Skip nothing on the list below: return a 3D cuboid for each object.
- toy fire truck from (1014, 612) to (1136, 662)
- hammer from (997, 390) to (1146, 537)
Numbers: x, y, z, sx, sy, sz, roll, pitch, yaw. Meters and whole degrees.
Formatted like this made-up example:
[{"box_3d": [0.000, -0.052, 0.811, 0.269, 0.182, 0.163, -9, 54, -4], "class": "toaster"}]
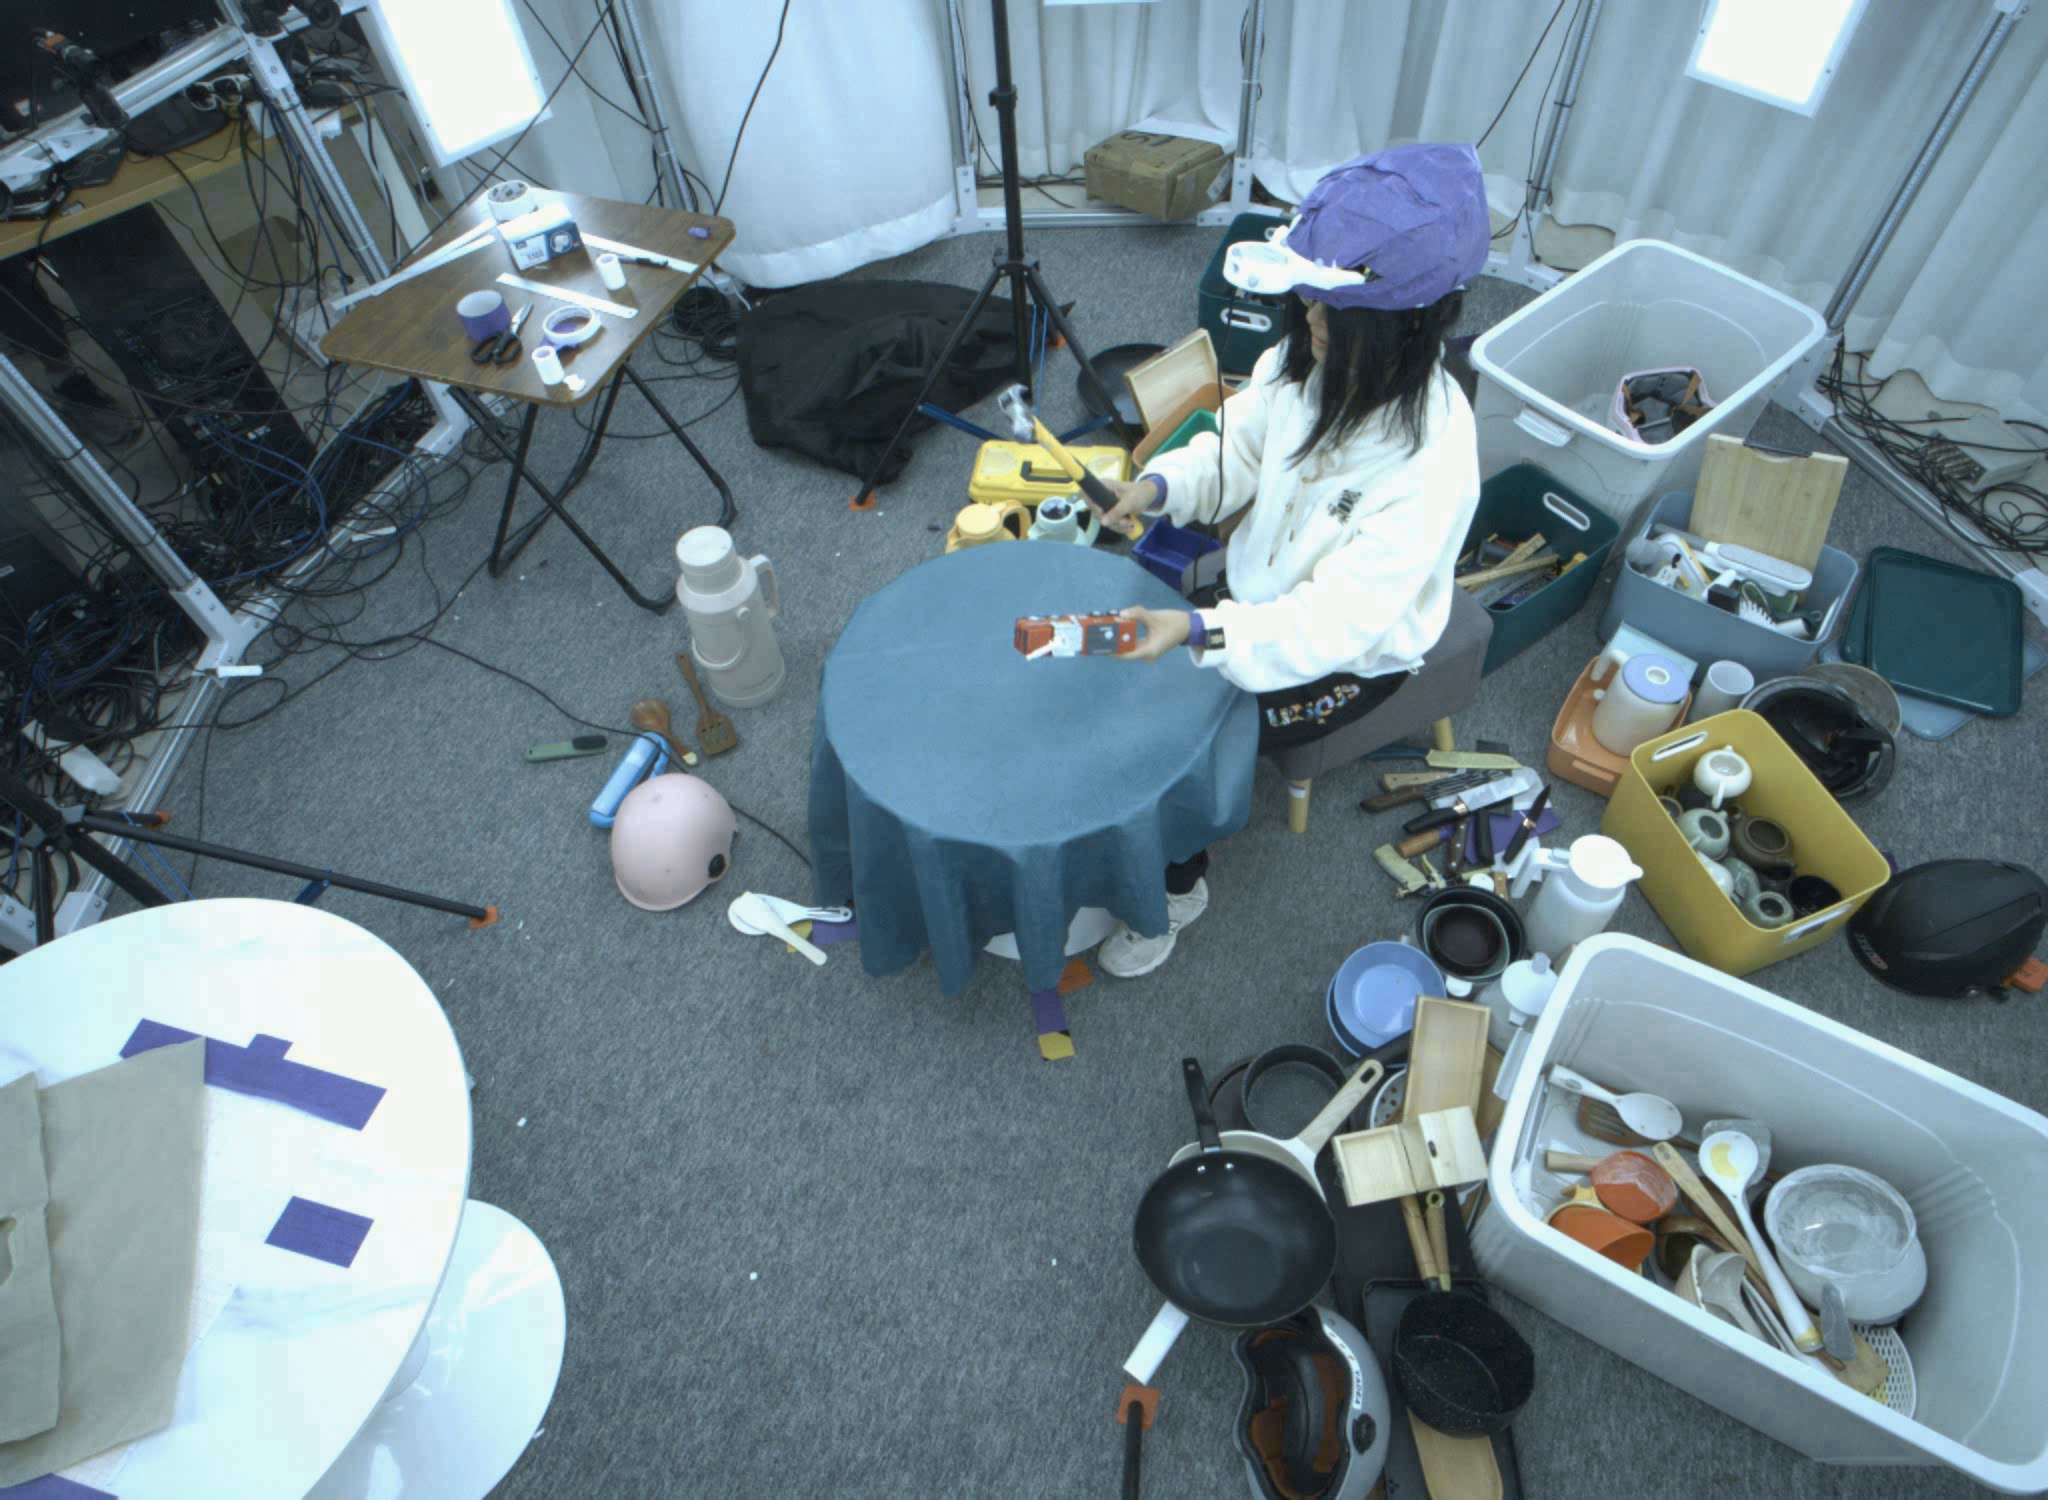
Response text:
[{"box_3d": [0.069, -0.150, 1.648, 0.170, 0.054, 0.069, -7, 28, -19], "class": "toy fire truck"}, {"box_3d": [0.072, -0.396, 1.710, 0.032, 0.346, 0.129, -35, 51, 20], "class": "hammer"}]
